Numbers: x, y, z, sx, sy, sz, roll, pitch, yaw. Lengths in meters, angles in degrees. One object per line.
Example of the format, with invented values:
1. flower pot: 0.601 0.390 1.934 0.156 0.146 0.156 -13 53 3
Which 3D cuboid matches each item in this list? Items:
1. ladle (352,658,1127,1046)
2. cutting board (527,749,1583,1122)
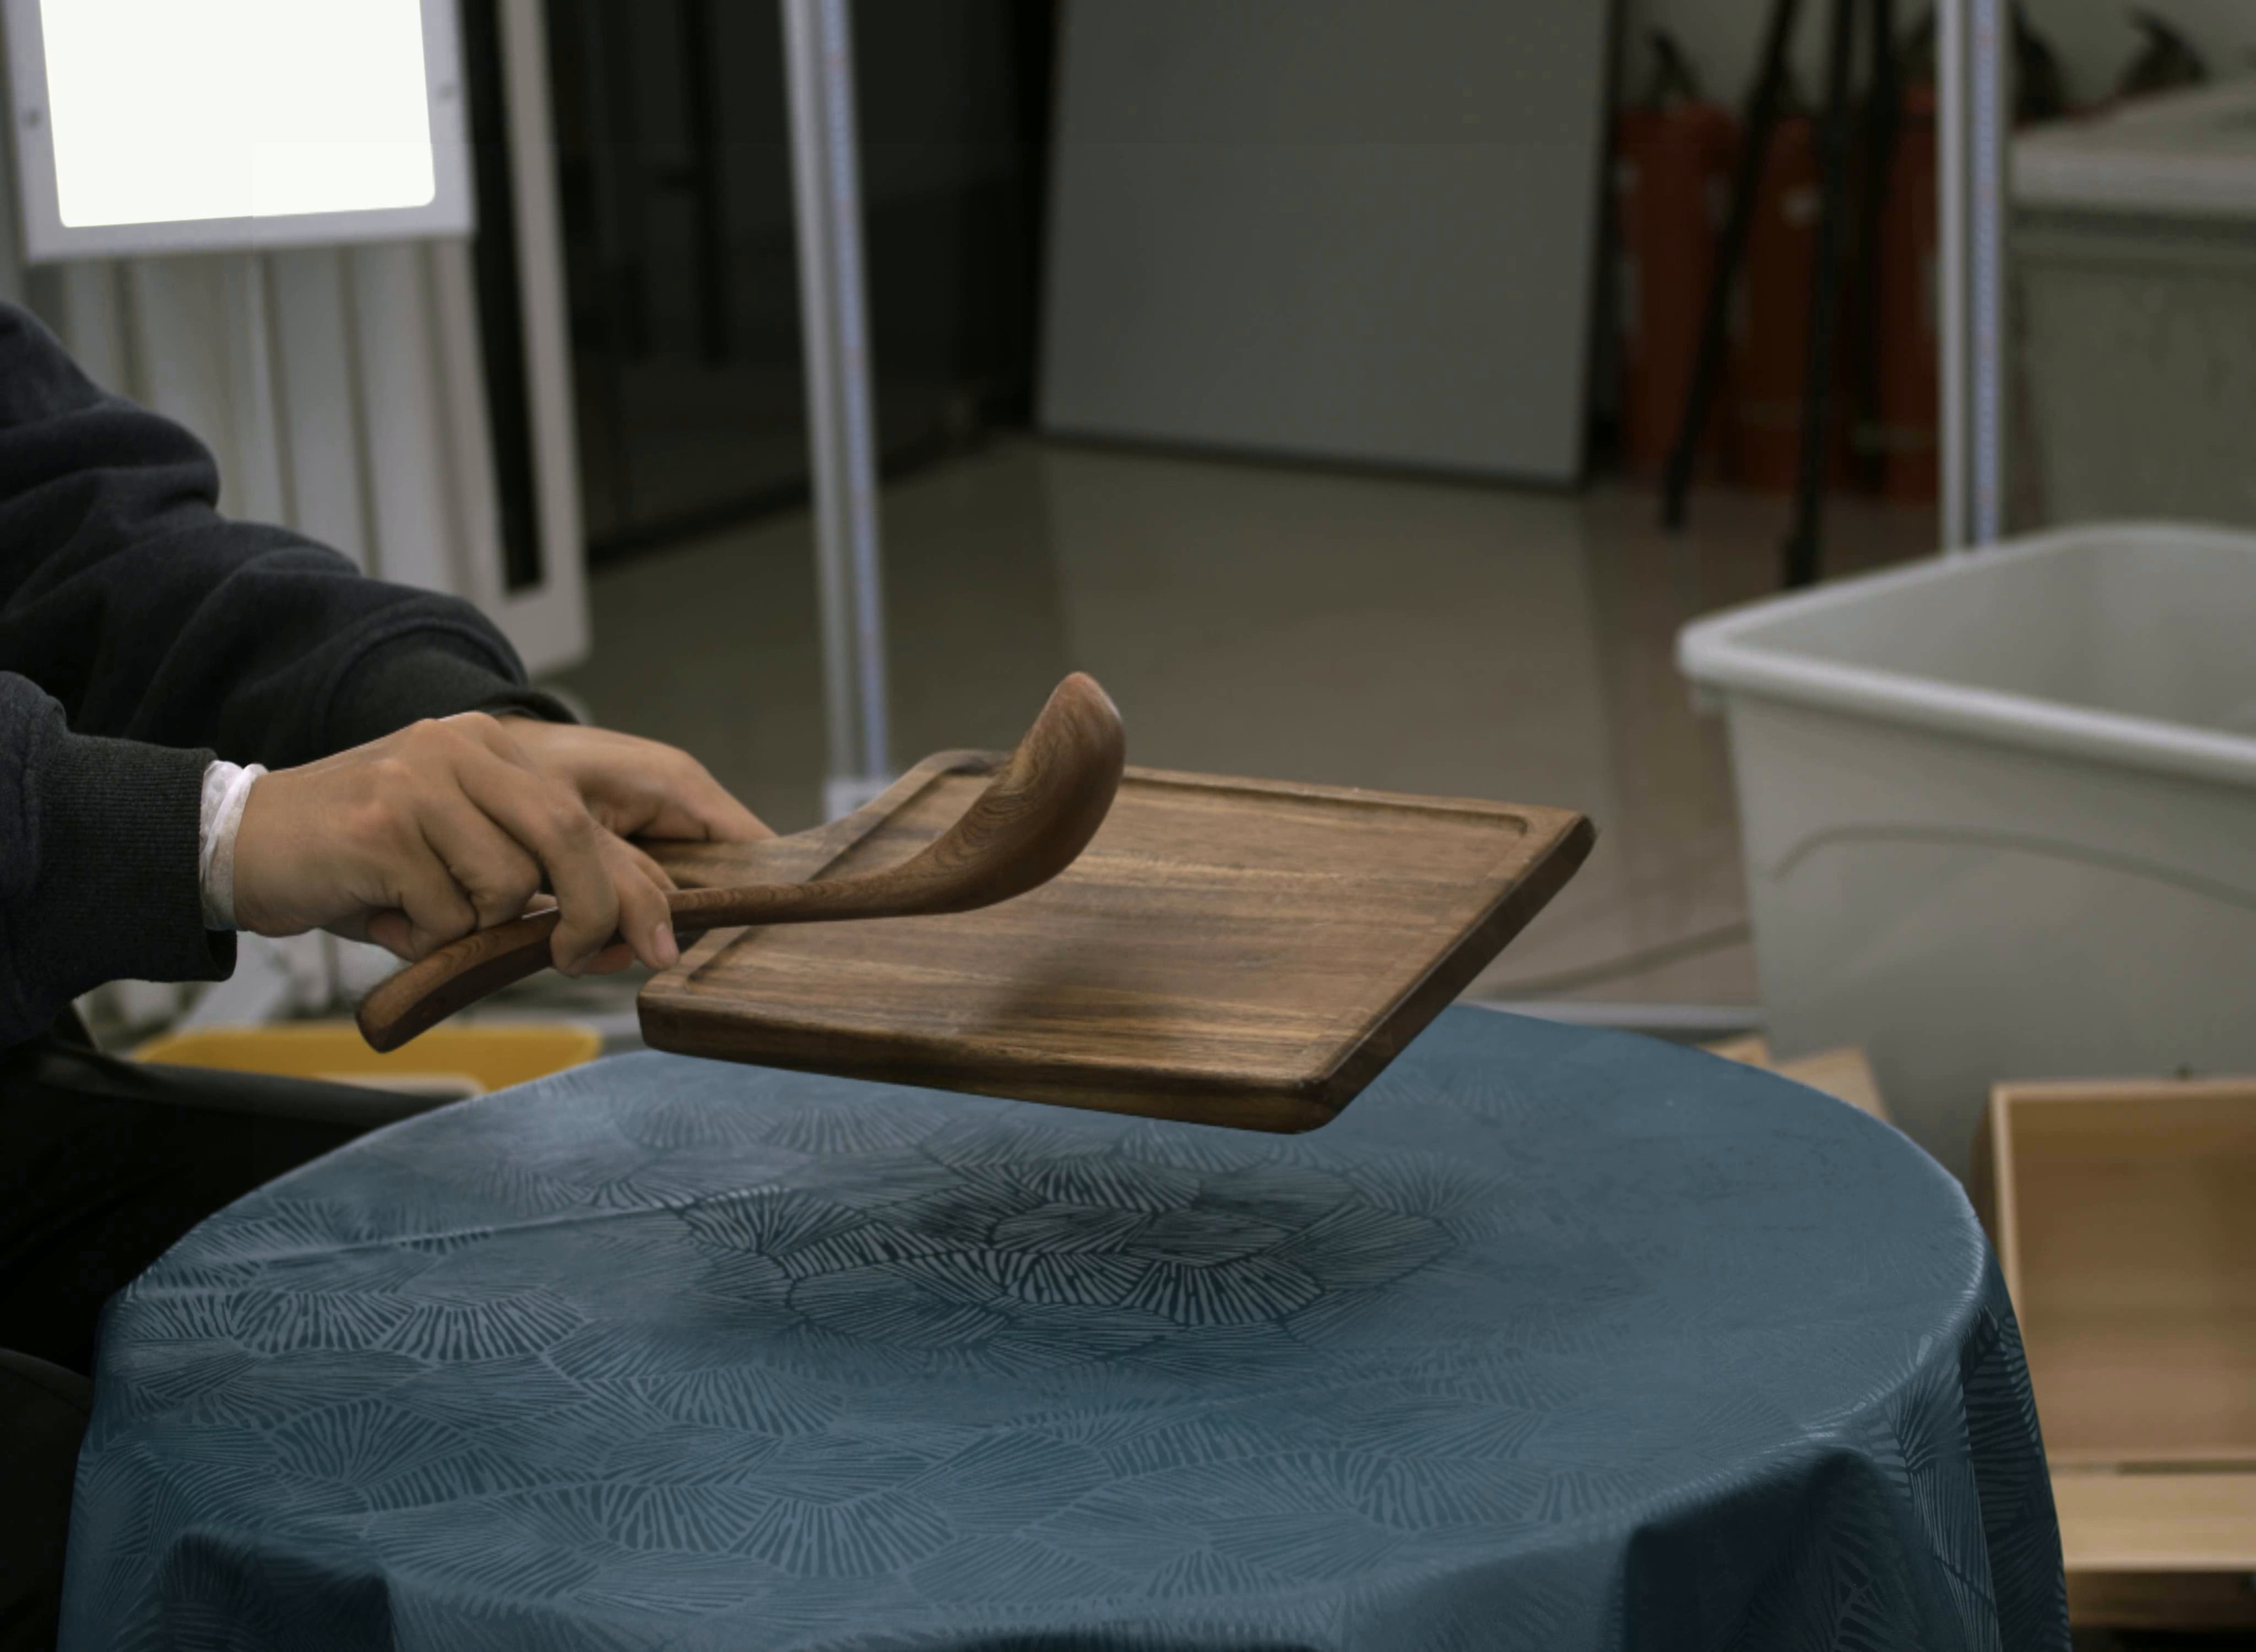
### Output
1. ladle: -0.117 0.009 1.644 0.255 0.077 0.066 -14 56 -16
2. cutting board: -0.046 0.026 1.738 0.354 0.023 0.198 5 27 31
